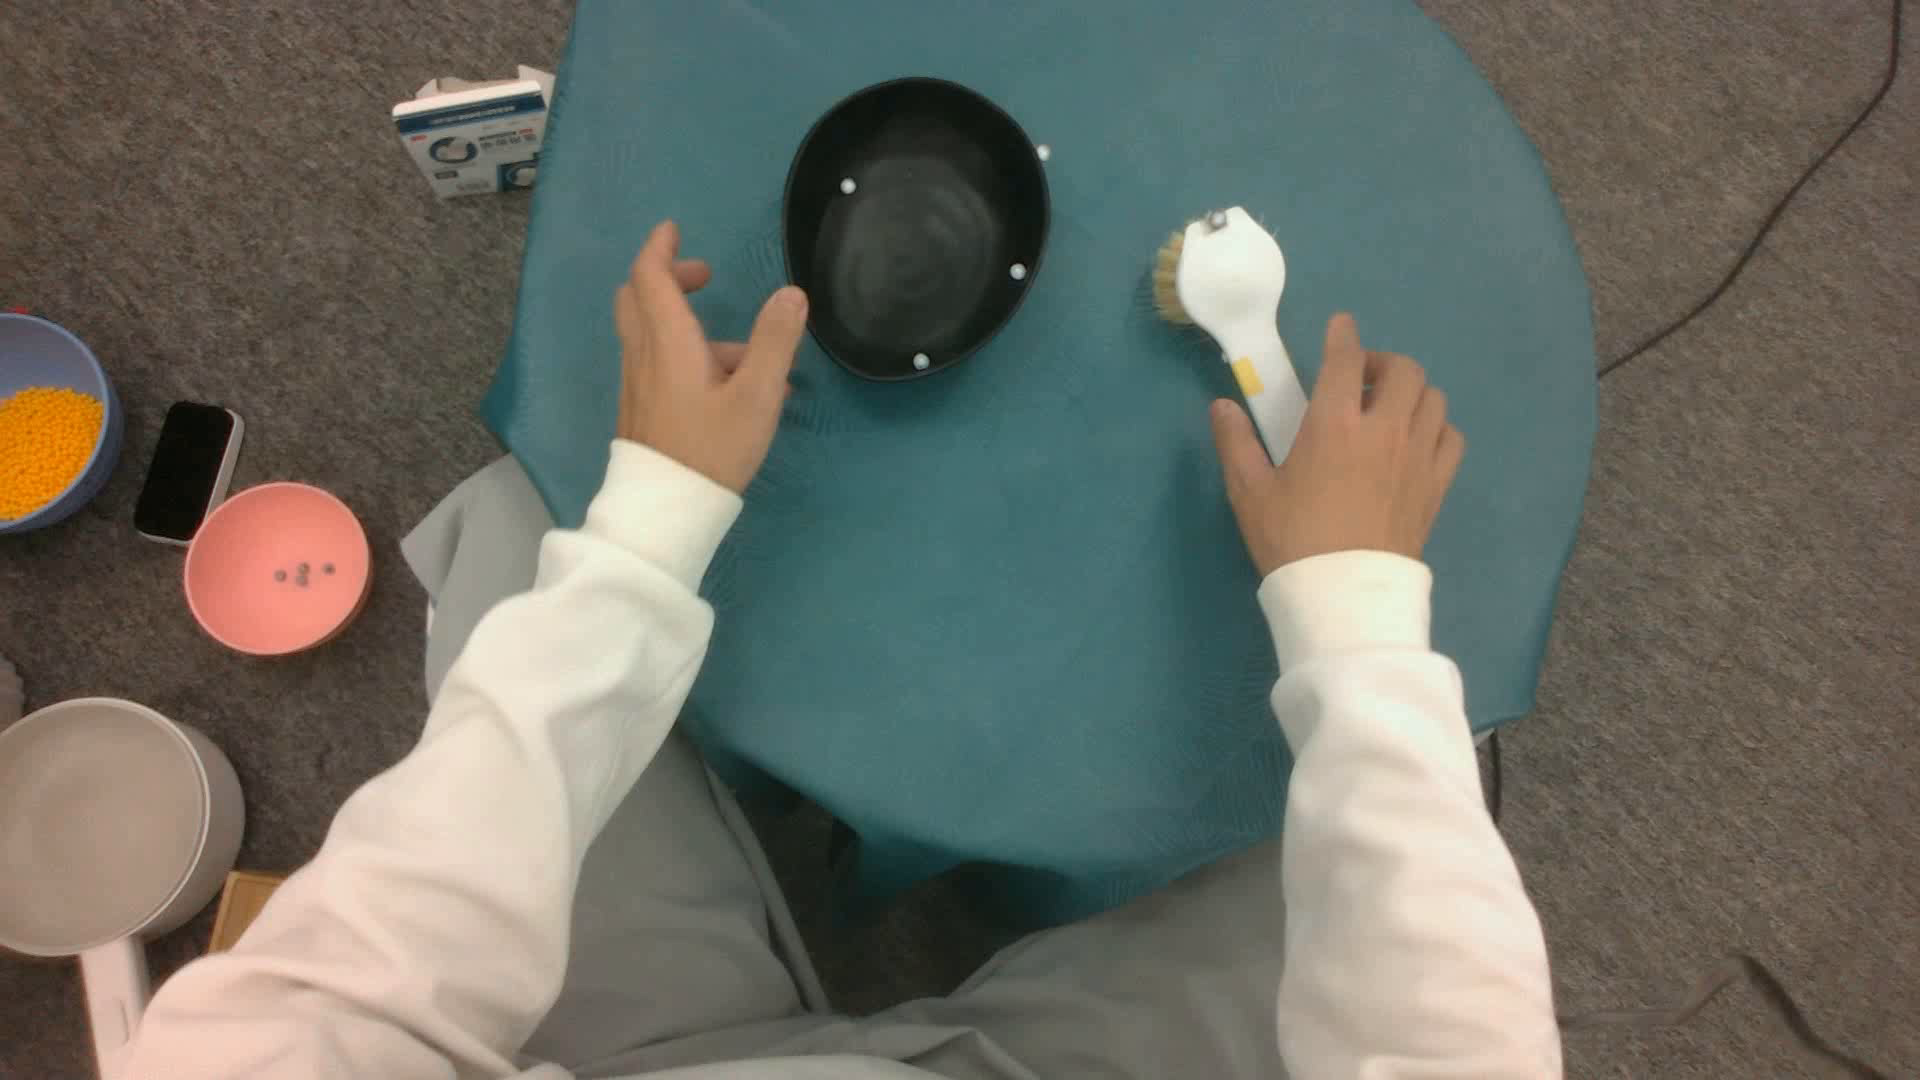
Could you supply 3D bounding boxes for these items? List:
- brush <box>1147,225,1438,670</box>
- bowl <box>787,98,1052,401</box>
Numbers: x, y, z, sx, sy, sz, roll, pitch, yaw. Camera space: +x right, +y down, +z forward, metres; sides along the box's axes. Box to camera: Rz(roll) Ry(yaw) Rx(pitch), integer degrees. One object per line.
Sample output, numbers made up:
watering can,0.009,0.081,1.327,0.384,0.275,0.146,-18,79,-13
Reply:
brush,0.184,-0.051,0.754,0.068,0.056,0.266,-28,89,4
bowl,-0.023,-0.151,0.749,0.137,0.066,0.170,12,78,0
